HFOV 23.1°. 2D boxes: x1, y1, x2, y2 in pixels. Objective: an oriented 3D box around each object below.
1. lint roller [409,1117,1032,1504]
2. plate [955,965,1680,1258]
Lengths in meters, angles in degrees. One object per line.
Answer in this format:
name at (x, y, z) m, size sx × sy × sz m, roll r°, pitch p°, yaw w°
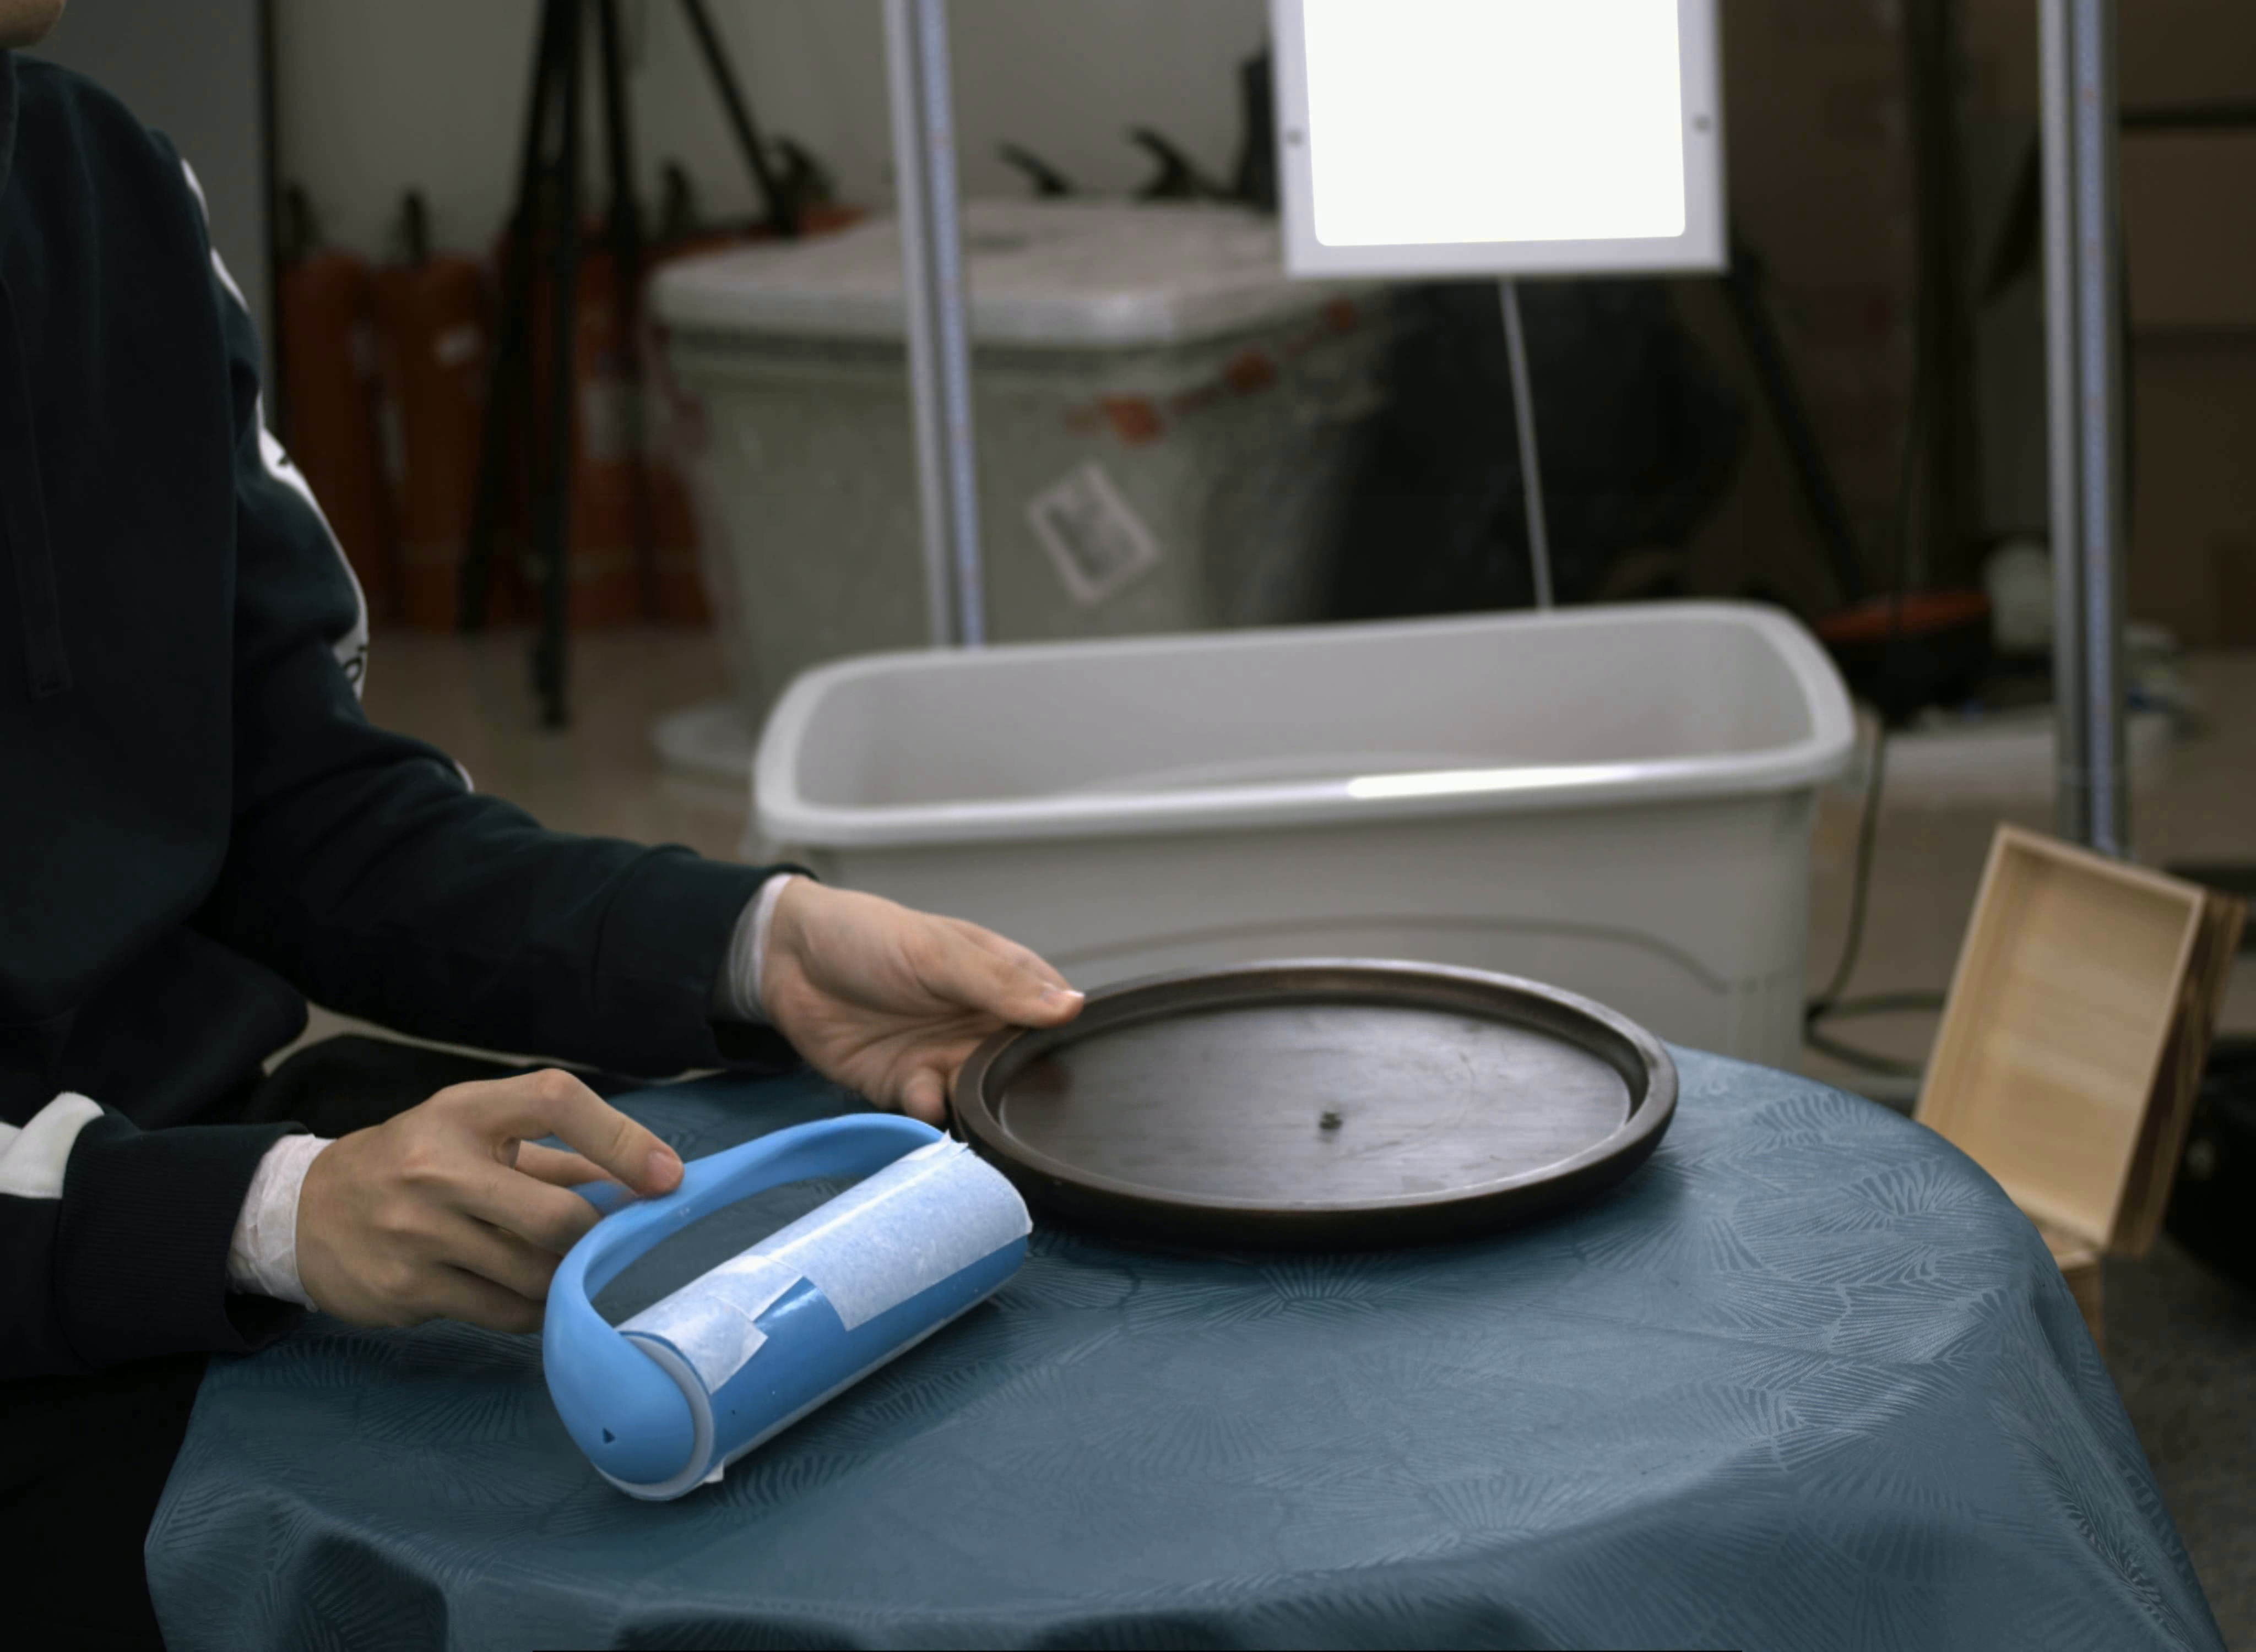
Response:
lint roller at (-0.152, 0.144, 1.742) m, size 0.183 × 0.068 × 0.224 m, roll 8°, pitch 20°, yaw 25°
plate at (0.066, 0.097, 1.909) m, size 0.254 × 0.029 × 0.254 m, roll -2°, pitch 17°, yaw -1°
